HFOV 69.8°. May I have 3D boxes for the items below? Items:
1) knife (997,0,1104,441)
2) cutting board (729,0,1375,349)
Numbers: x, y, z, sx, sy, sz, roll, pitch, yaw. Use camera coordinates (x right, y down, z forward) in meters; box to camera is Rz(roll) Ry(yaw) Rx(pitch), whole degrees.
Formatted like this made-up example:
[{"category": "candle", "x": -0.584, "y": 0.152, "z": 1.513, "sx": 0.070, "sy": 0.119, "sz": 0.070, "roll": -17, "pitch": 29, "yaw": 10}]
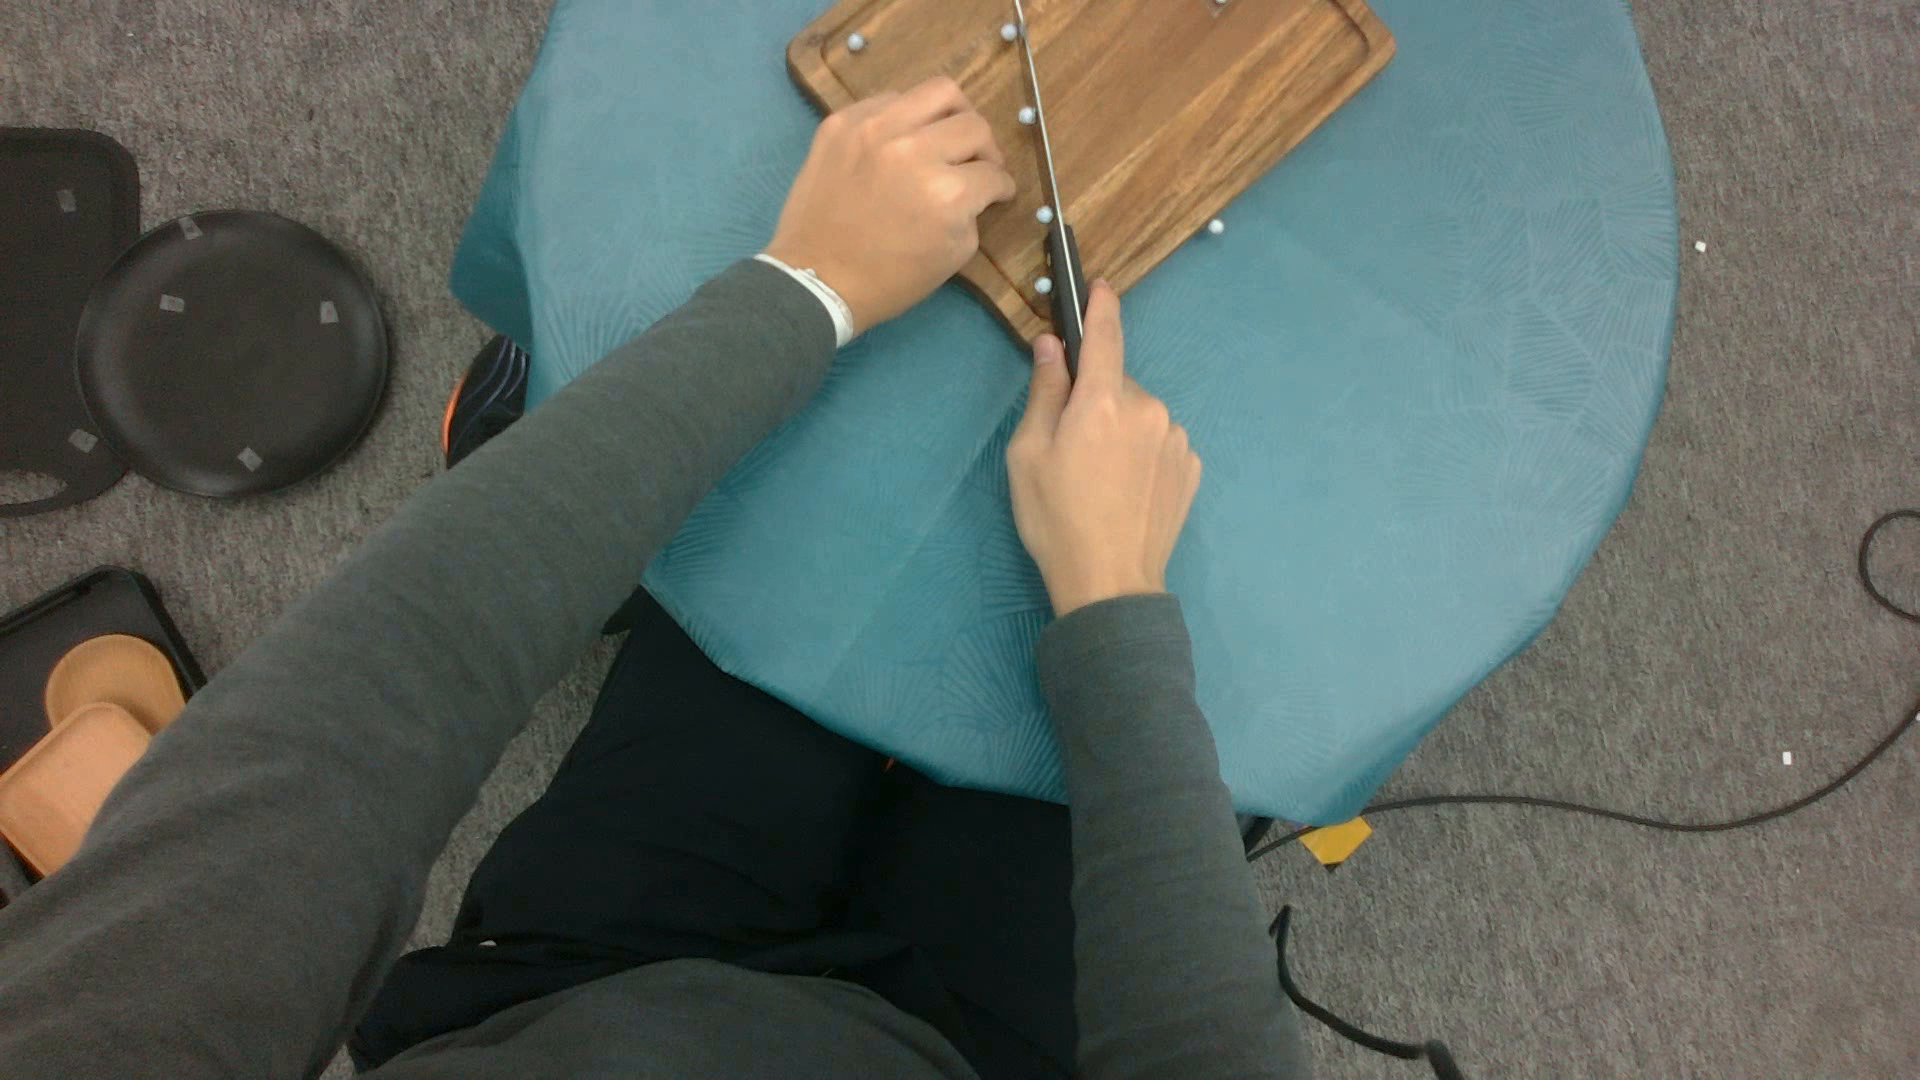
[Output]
[{"category": "knife", "x": 0.040, "y": -0.163, "z": 0.657, "sx": 0.016, "sy": 0.024, "sz": 0.238, "roll": -9, "pitch": 82, "yaw": -11}, {"category": "cutting board", "x": 0.023, "y": -0.217, "z": 0.681, "sx": 0.352, "sy": 0.023, "sz": 0.201, "roll": -42, "pitch": 92, "yaw": -9}]
